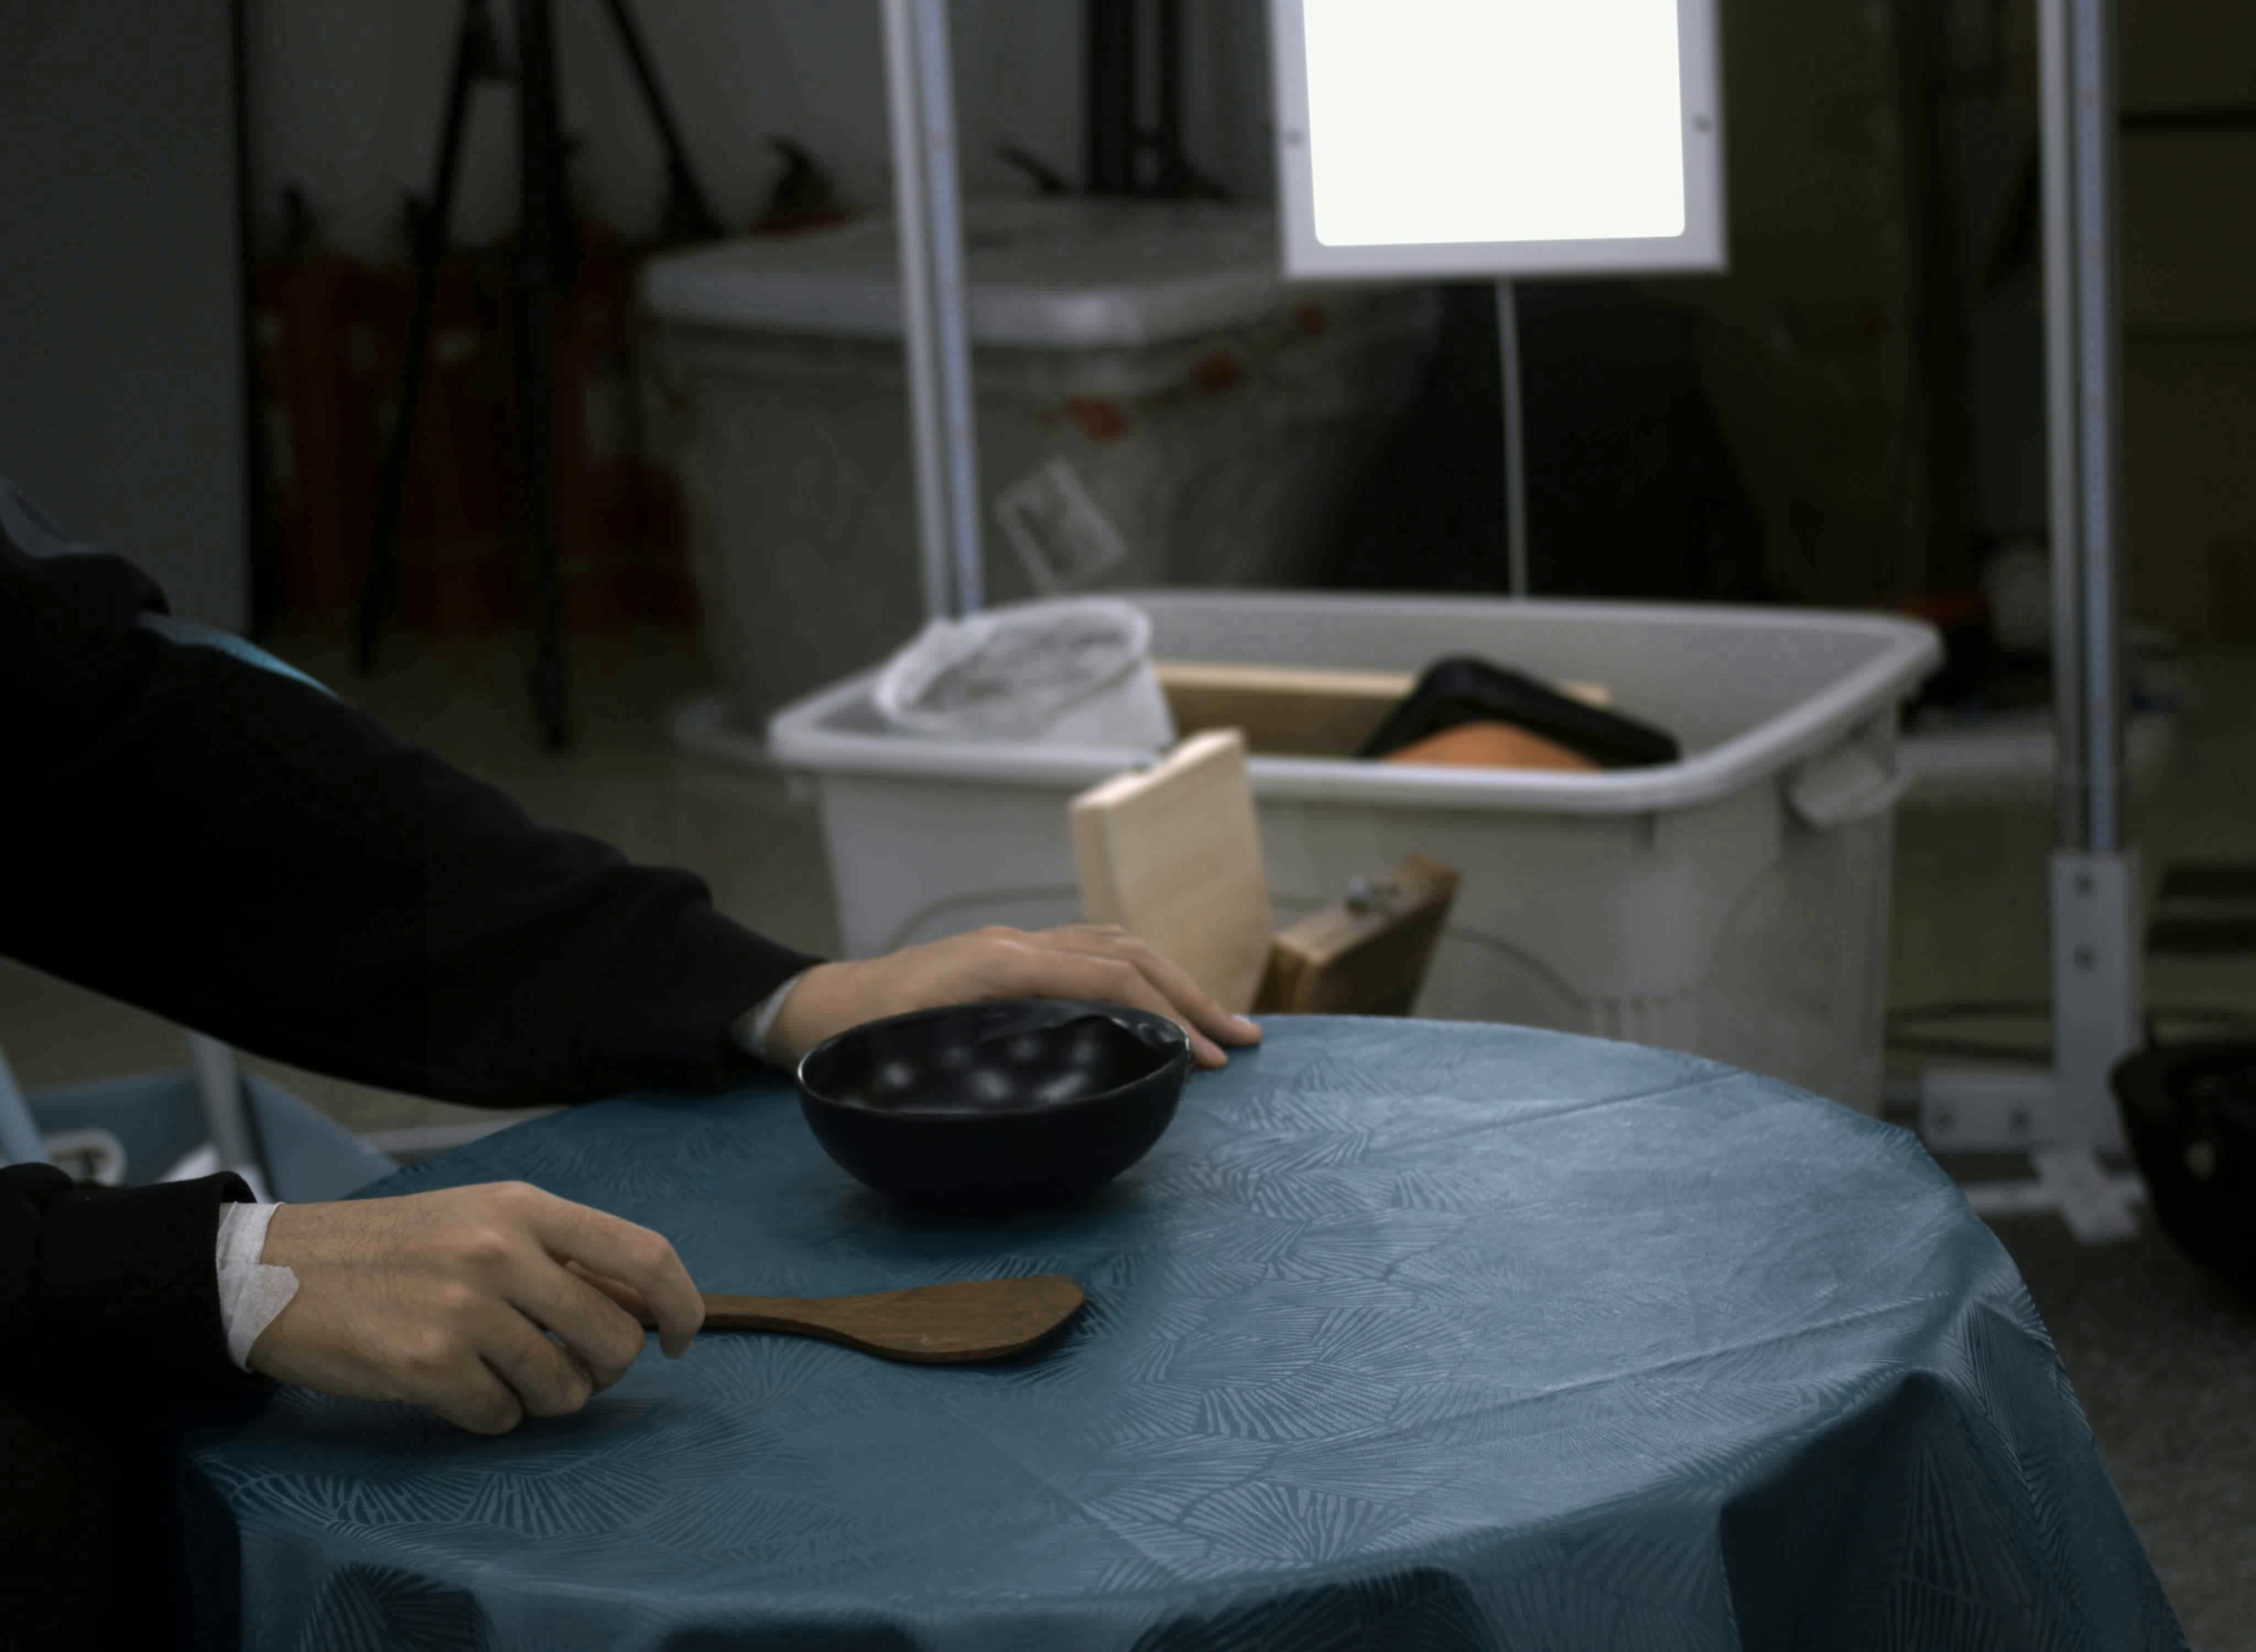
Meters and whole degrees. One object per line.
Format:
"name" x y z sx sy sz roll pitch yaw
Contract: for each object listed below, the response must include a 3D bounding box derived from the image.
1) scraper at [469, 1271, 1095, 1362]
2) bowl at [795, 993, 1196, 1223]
"scraper" -0.115 0.158 1.794 0.214 0.011 0.074 -1 14 20
"bowl" -0.044 0.102 1.912 0.140 0.050 0.140 -6 16 0
